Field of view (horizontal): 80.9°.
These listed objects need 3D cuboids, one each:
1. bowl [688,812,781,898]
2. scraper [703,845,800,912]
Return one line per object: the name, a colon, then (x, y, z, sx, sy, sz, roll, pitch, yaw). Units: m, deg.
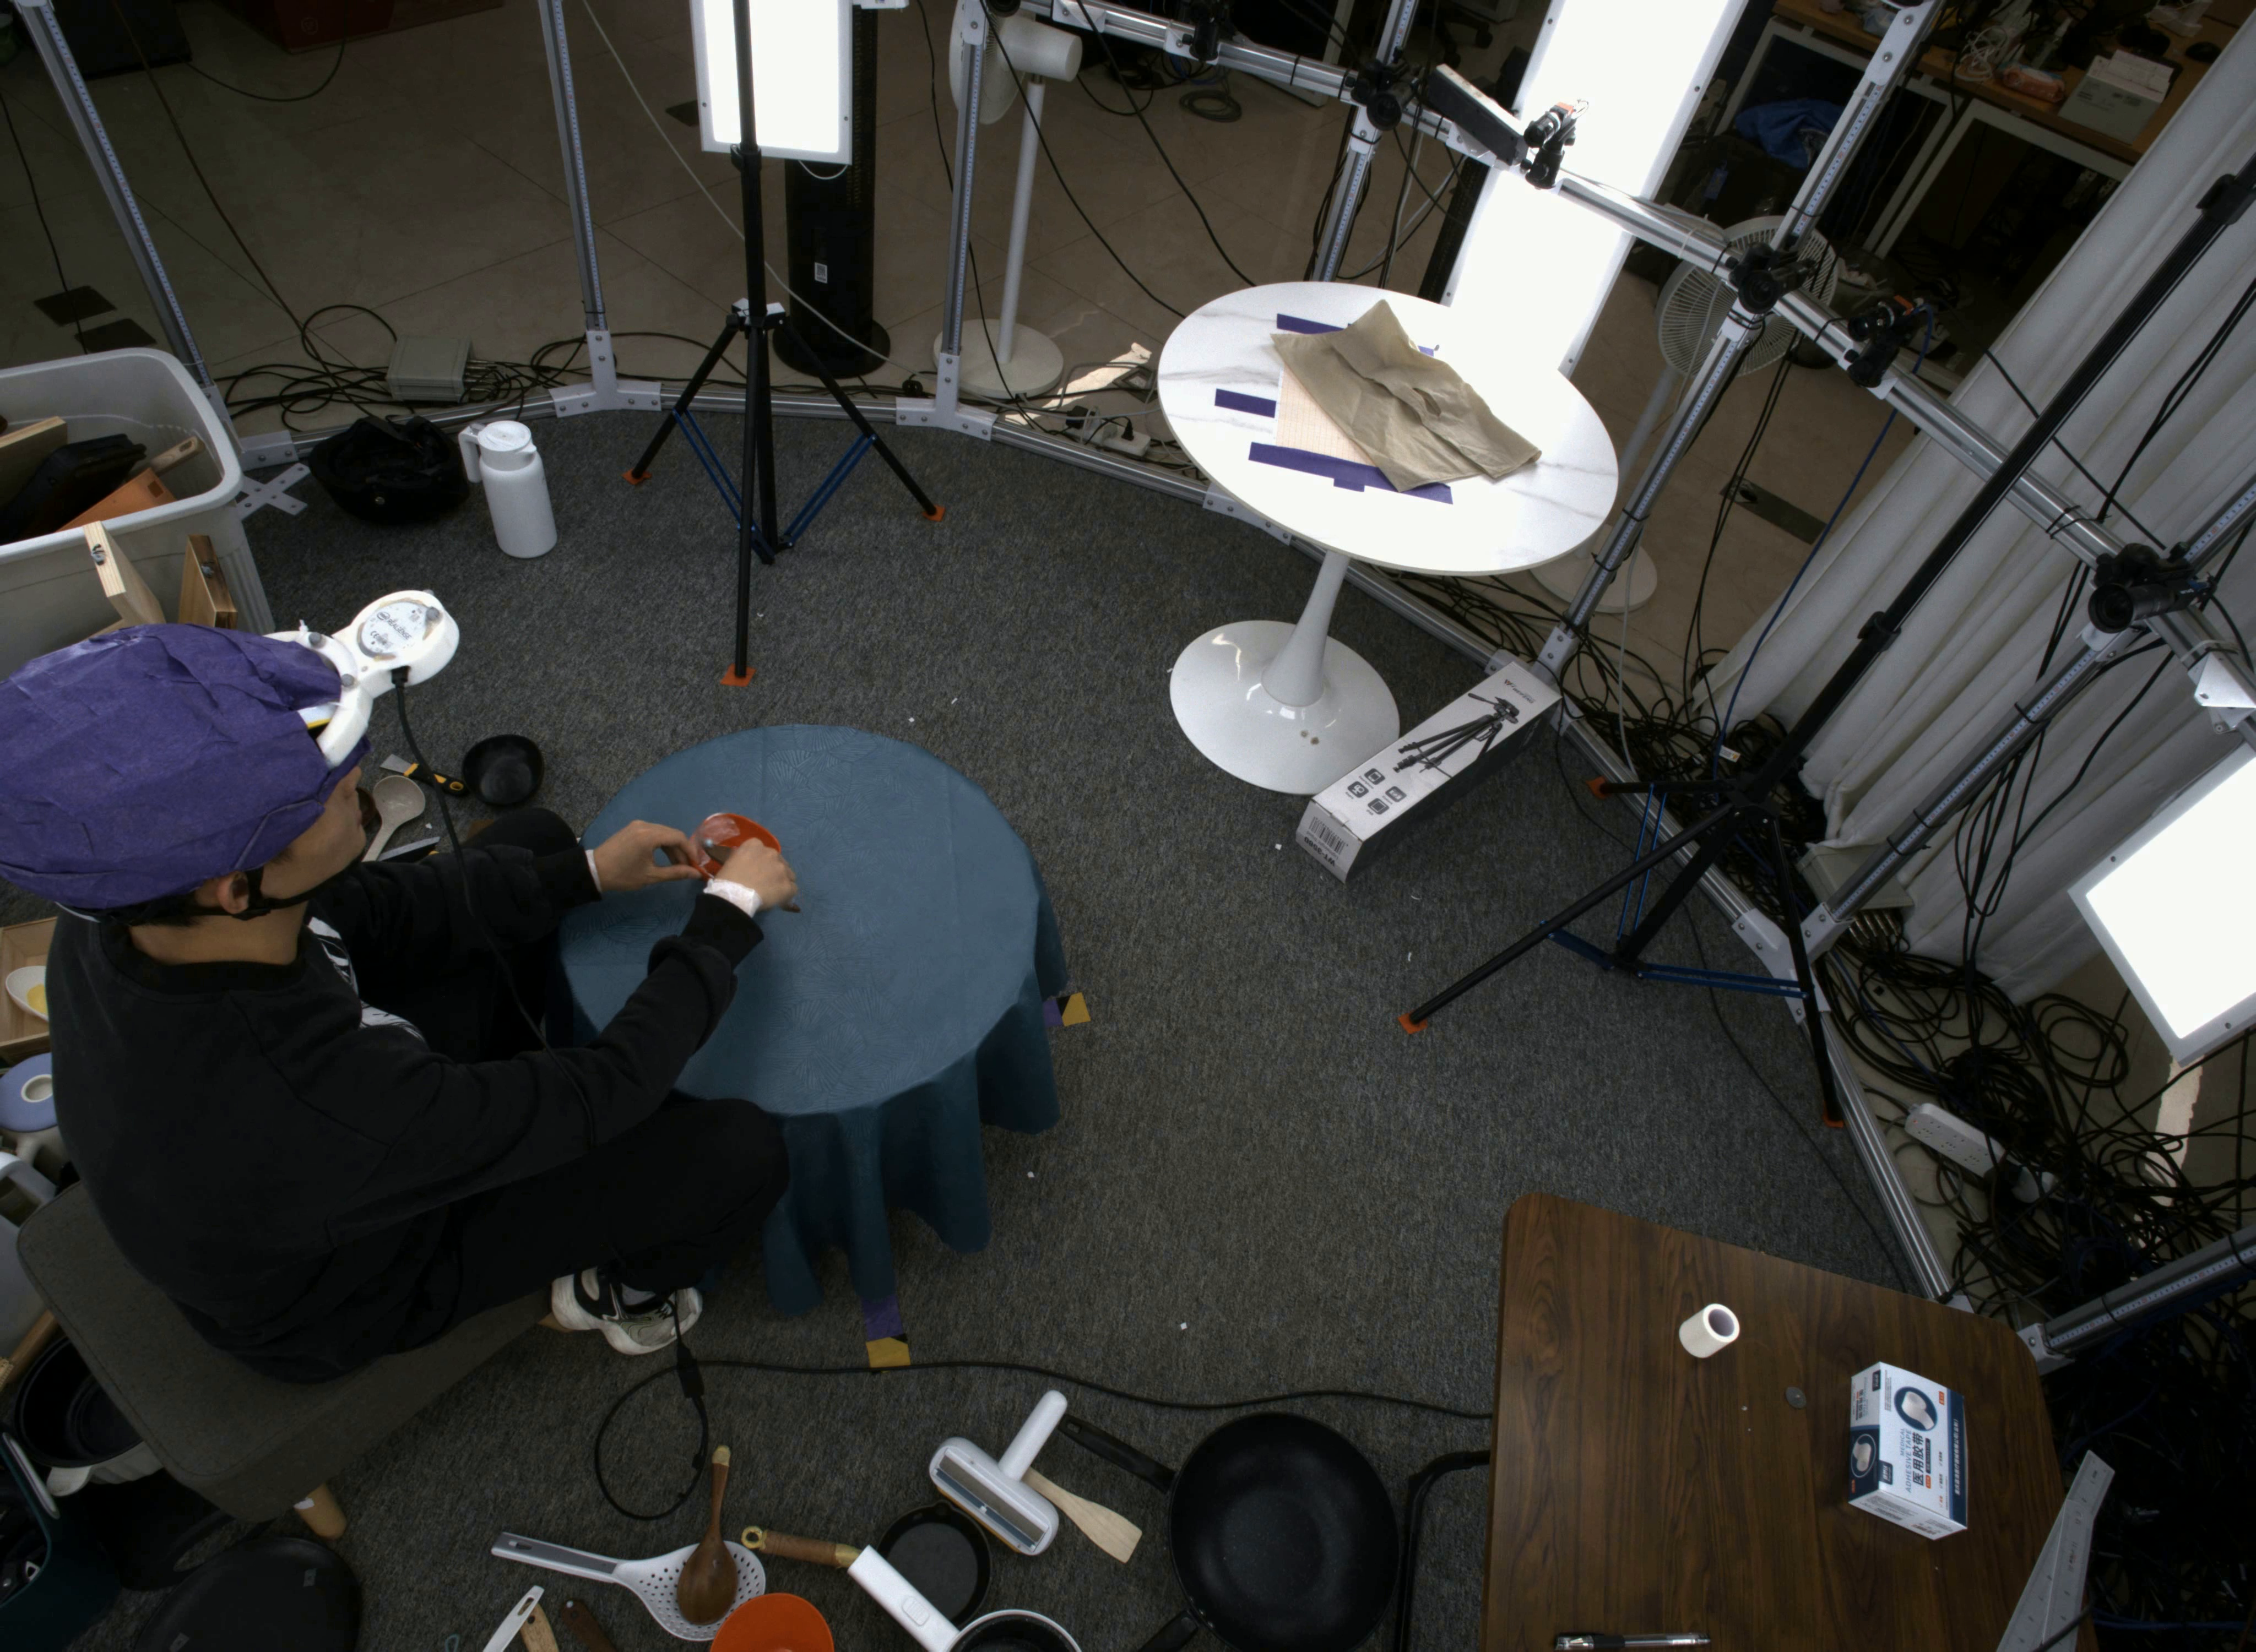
bowl: (-0.502, 0.044, 1.633, 0.120, 0.051, 0.116, 20, 46, -20)
scraper: (-0.444, 0.062, 1.550, 0.078, 0.011, 0.203, 15, 8, -42)
